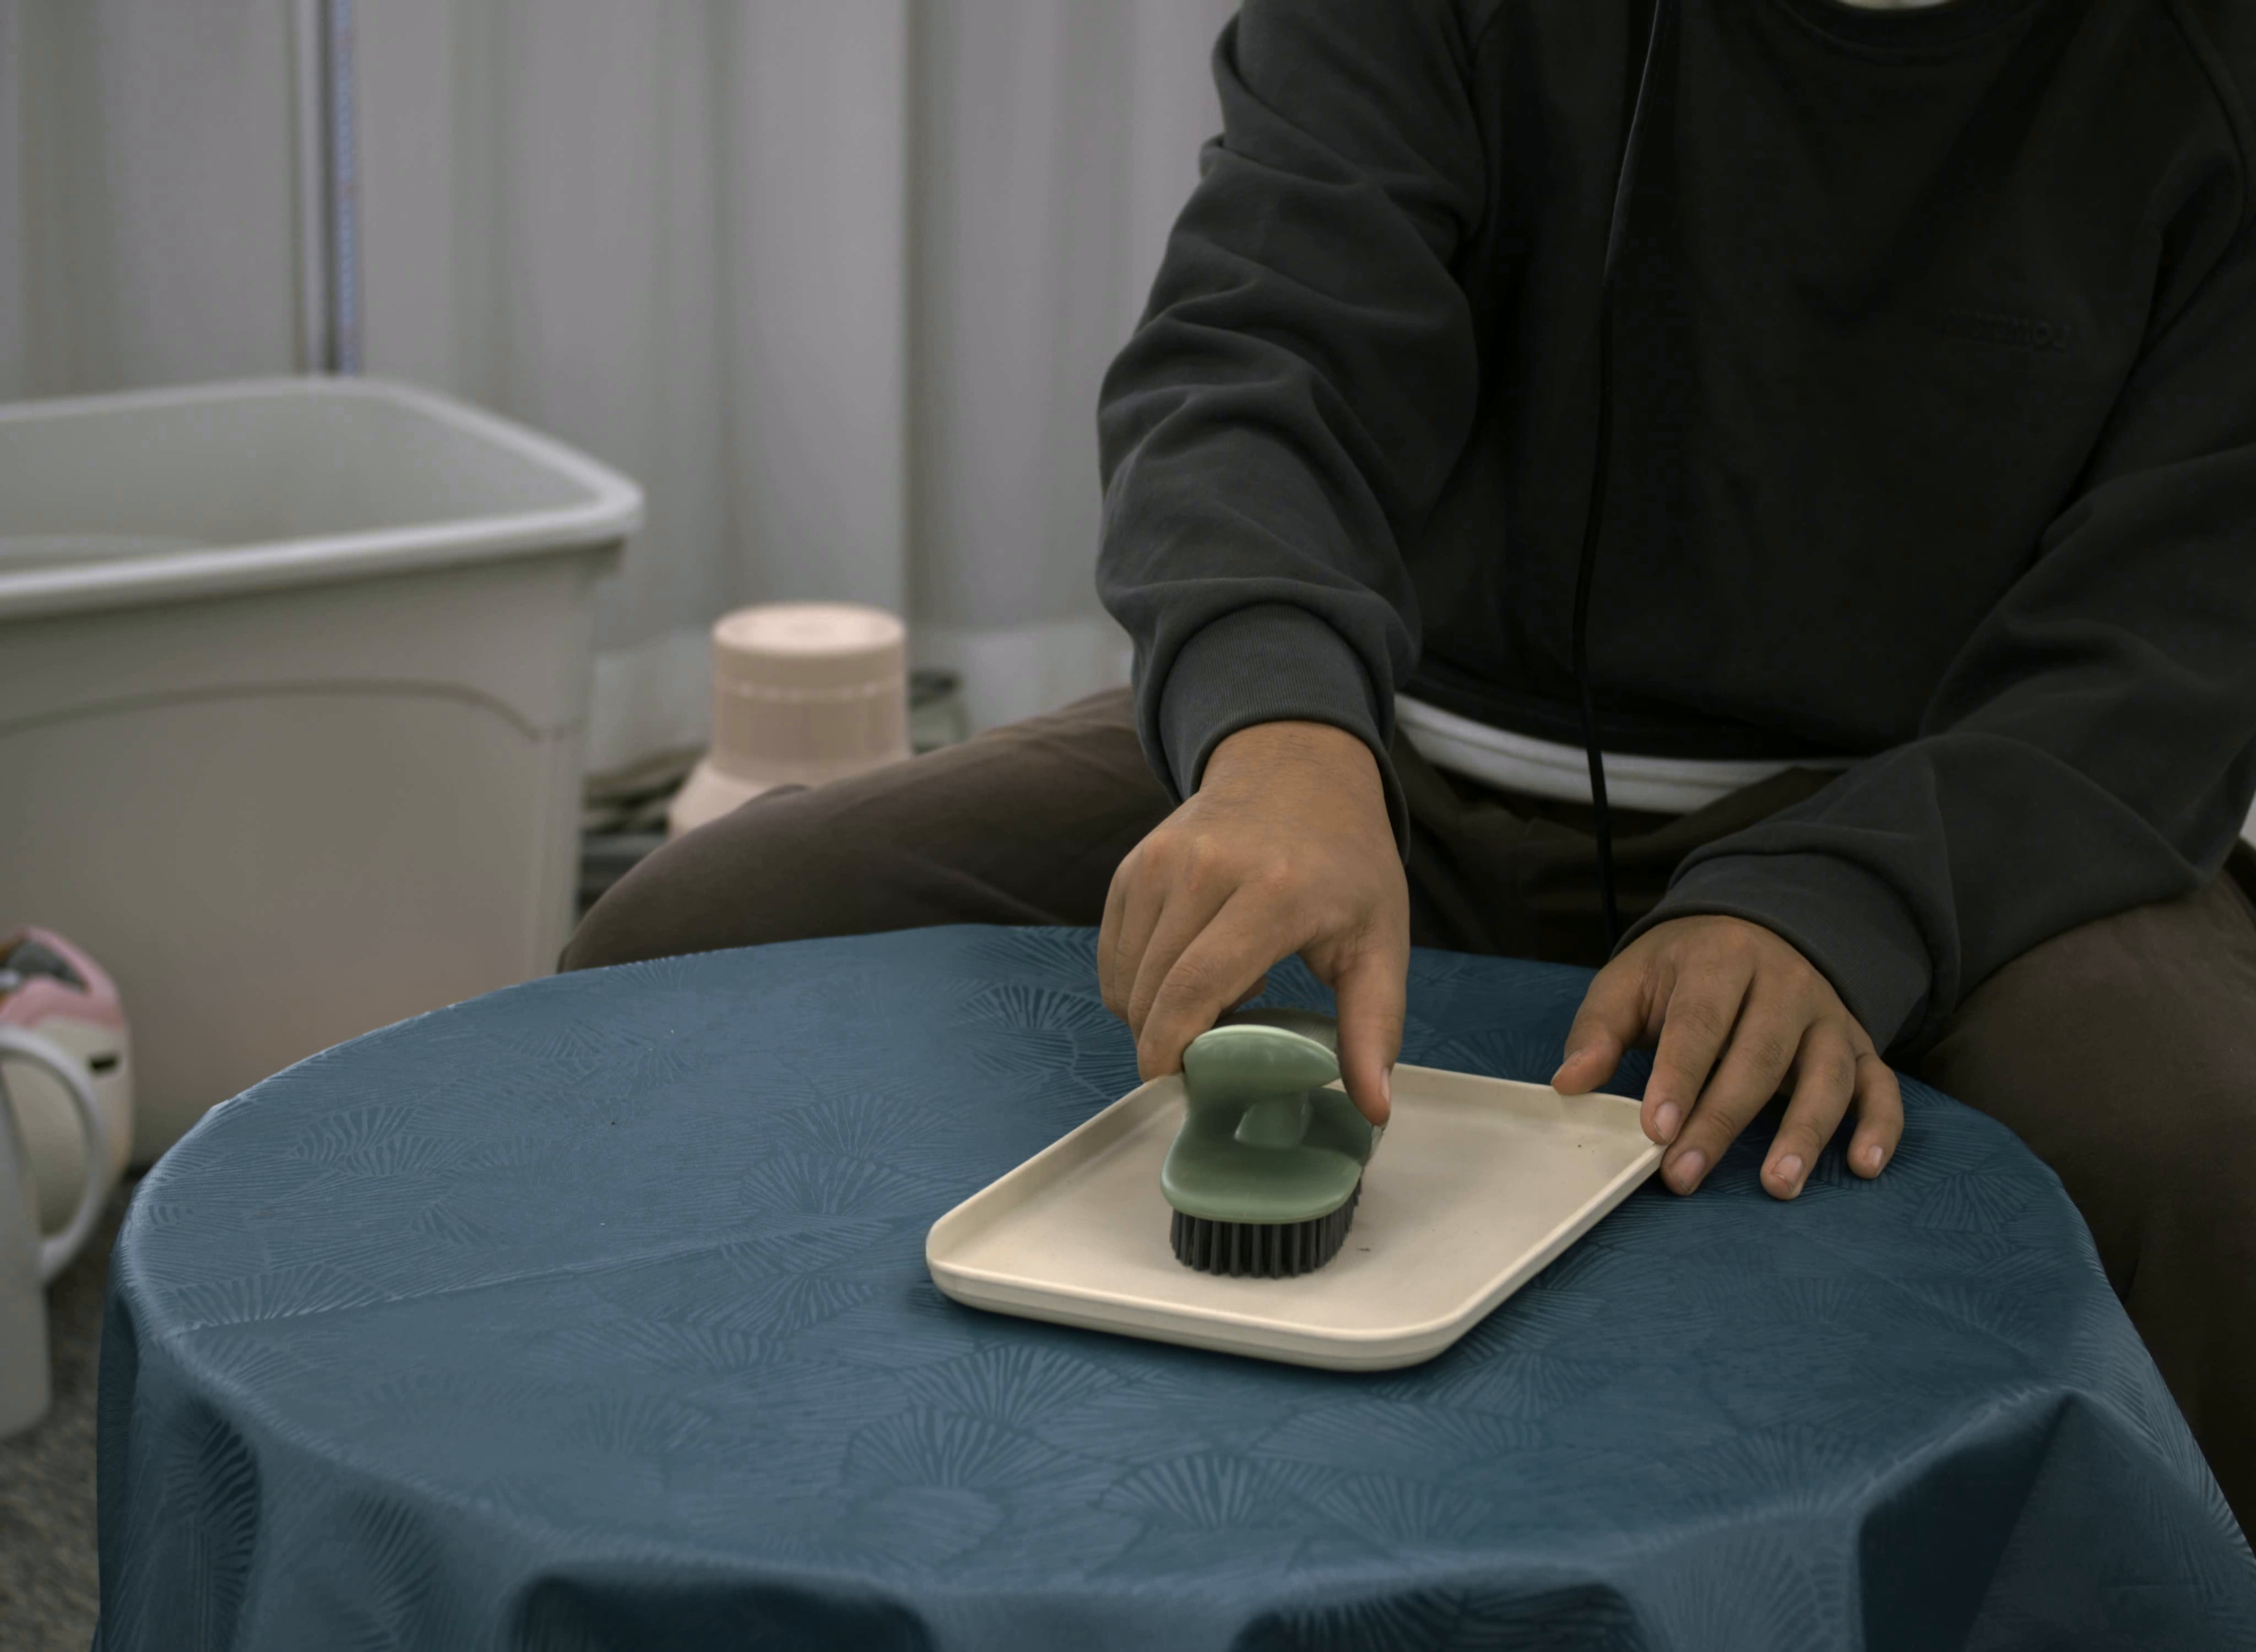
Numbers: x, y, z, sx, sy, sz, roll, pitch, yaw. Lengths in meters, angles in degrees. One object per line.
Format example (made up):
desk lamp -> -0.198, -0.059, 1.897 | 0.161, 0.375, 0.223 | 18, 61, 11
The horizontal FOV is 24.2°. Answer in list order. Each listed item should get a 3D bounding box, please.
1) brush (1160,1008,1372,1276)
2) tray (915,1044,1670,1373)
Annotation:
brush -> 0.042, 0.093, 1.589 | 0.059, 0.076, 0.123 | 3, 2, 7
tray -> 0.054, 0.113, 1.592 | 0.169, 0.017, 0.240 | 9, 17, 23
